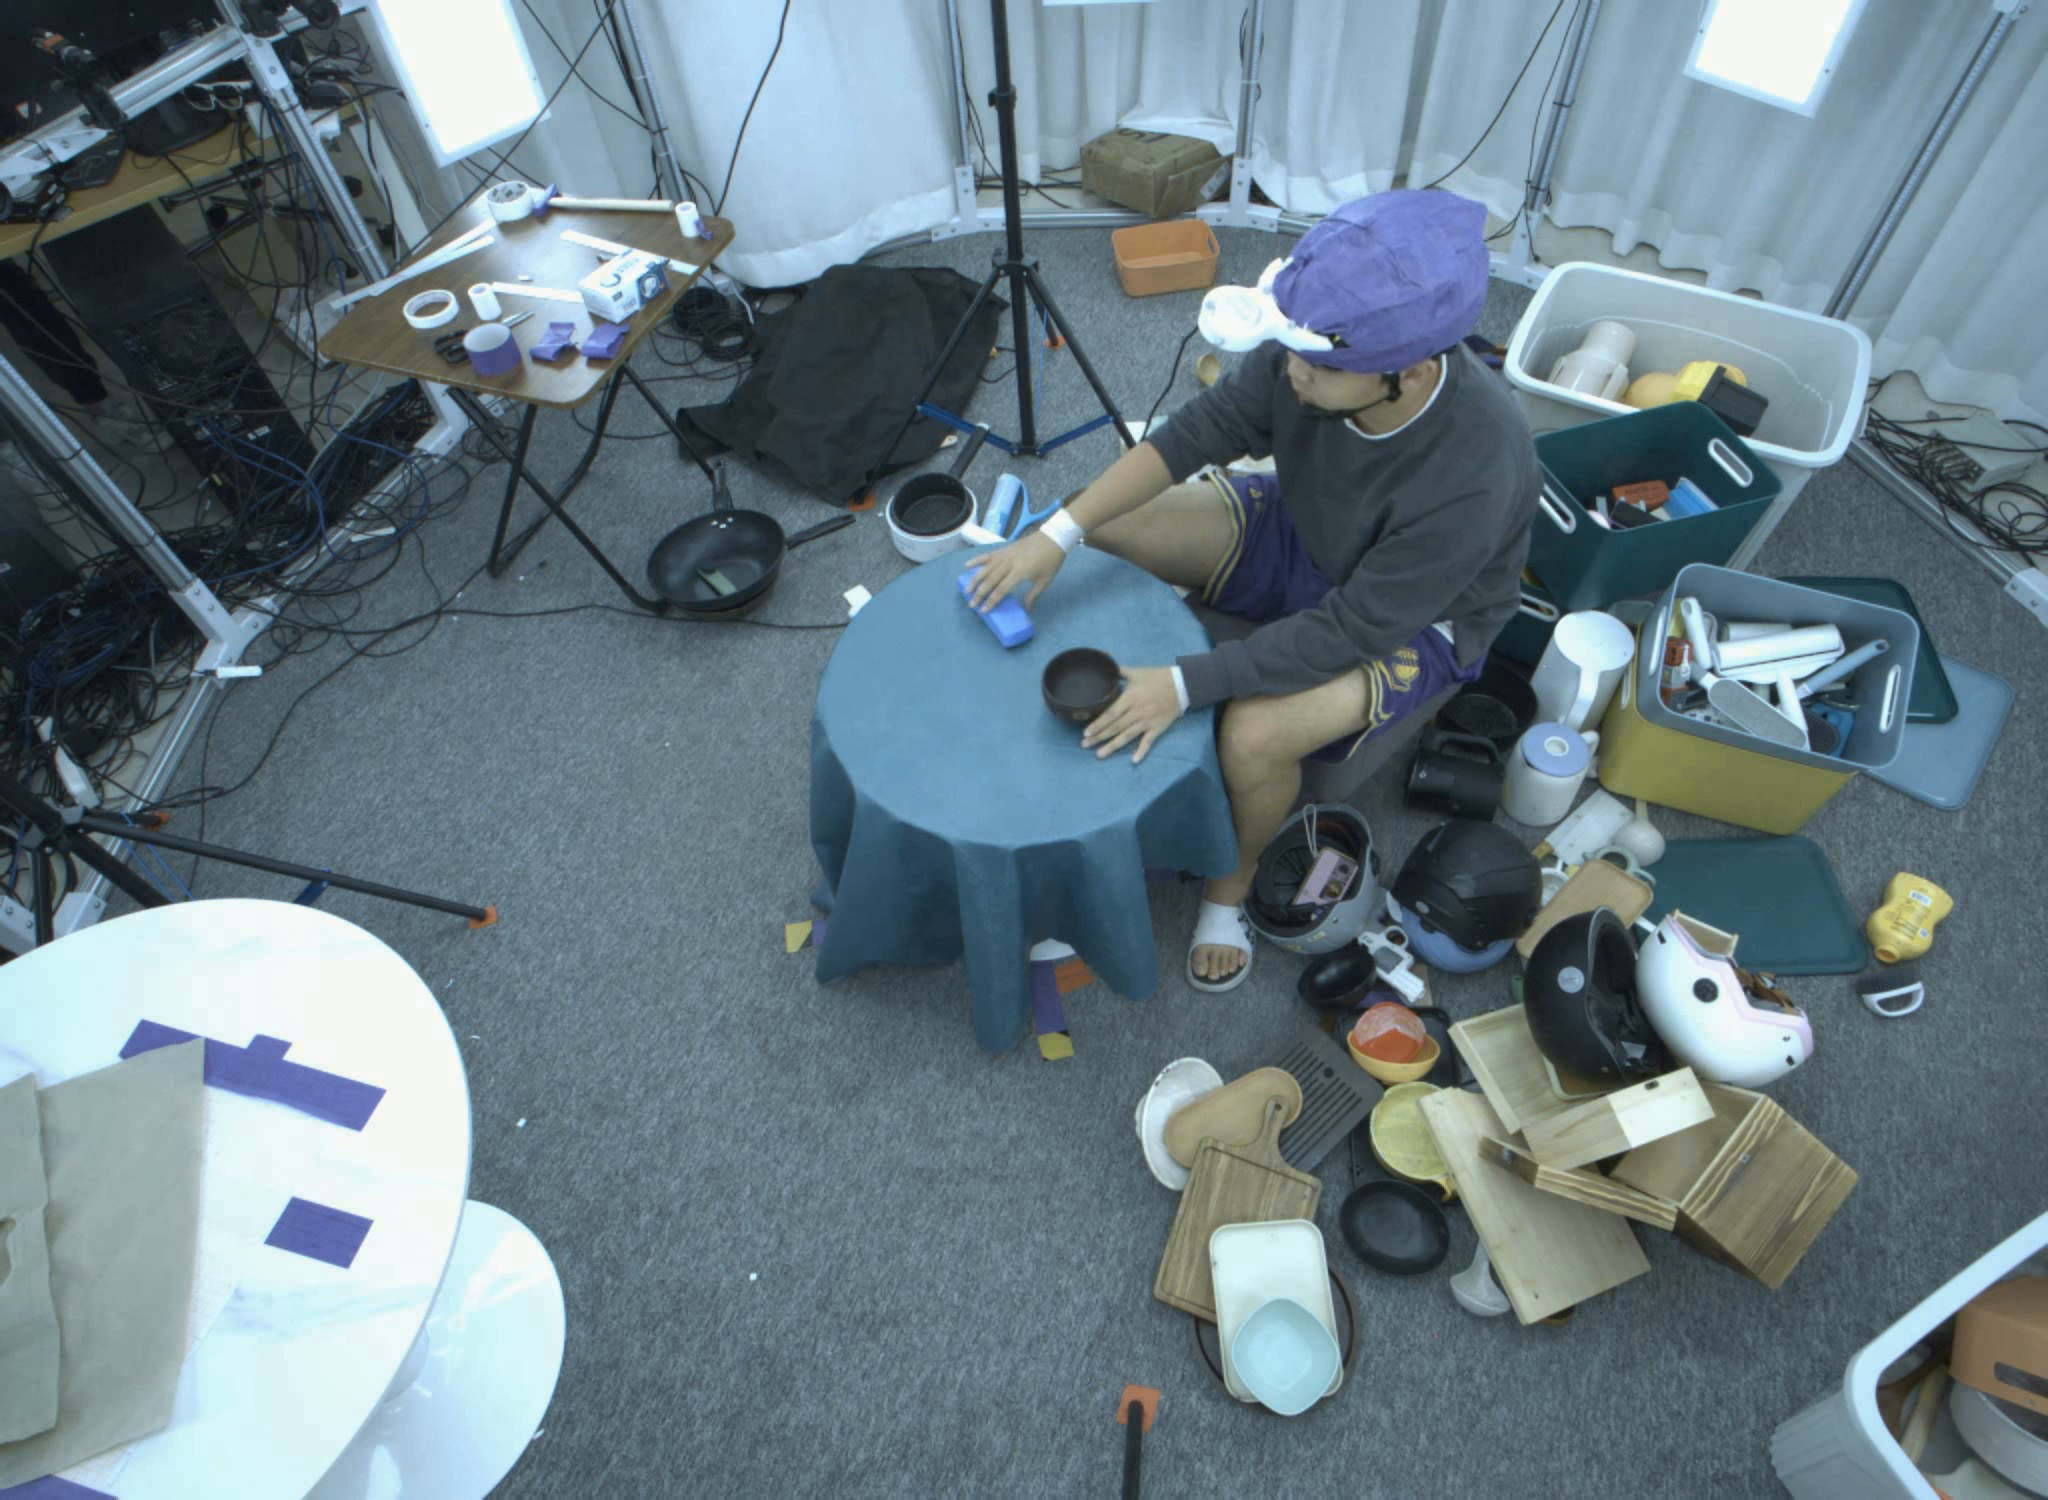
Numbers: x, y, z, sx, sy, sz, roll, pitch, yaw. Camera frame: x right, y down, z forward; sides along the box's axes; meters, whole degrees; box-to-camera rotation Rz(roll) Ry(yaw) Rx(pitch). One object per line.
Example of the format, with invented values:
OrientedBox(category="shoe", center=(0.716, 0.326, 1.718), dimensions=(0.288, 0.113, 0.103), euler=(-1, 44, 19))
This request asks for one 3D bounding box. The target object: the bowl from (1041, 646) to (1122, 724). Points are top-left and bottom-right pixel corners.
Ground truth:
OrientedBox(category="bowl", center=(0.085, -0.087, 1.803), dimensions=(0.118, 0.070, 0.117), euler=(-1, 53, 3))

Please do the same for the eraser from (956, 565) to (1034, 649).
OrientedBox(category="eraser", center=(-0.048, -0.230, 1.927), dimensions=(0.054, 0.048, 0.159), euler=(-30, 59, -14))
